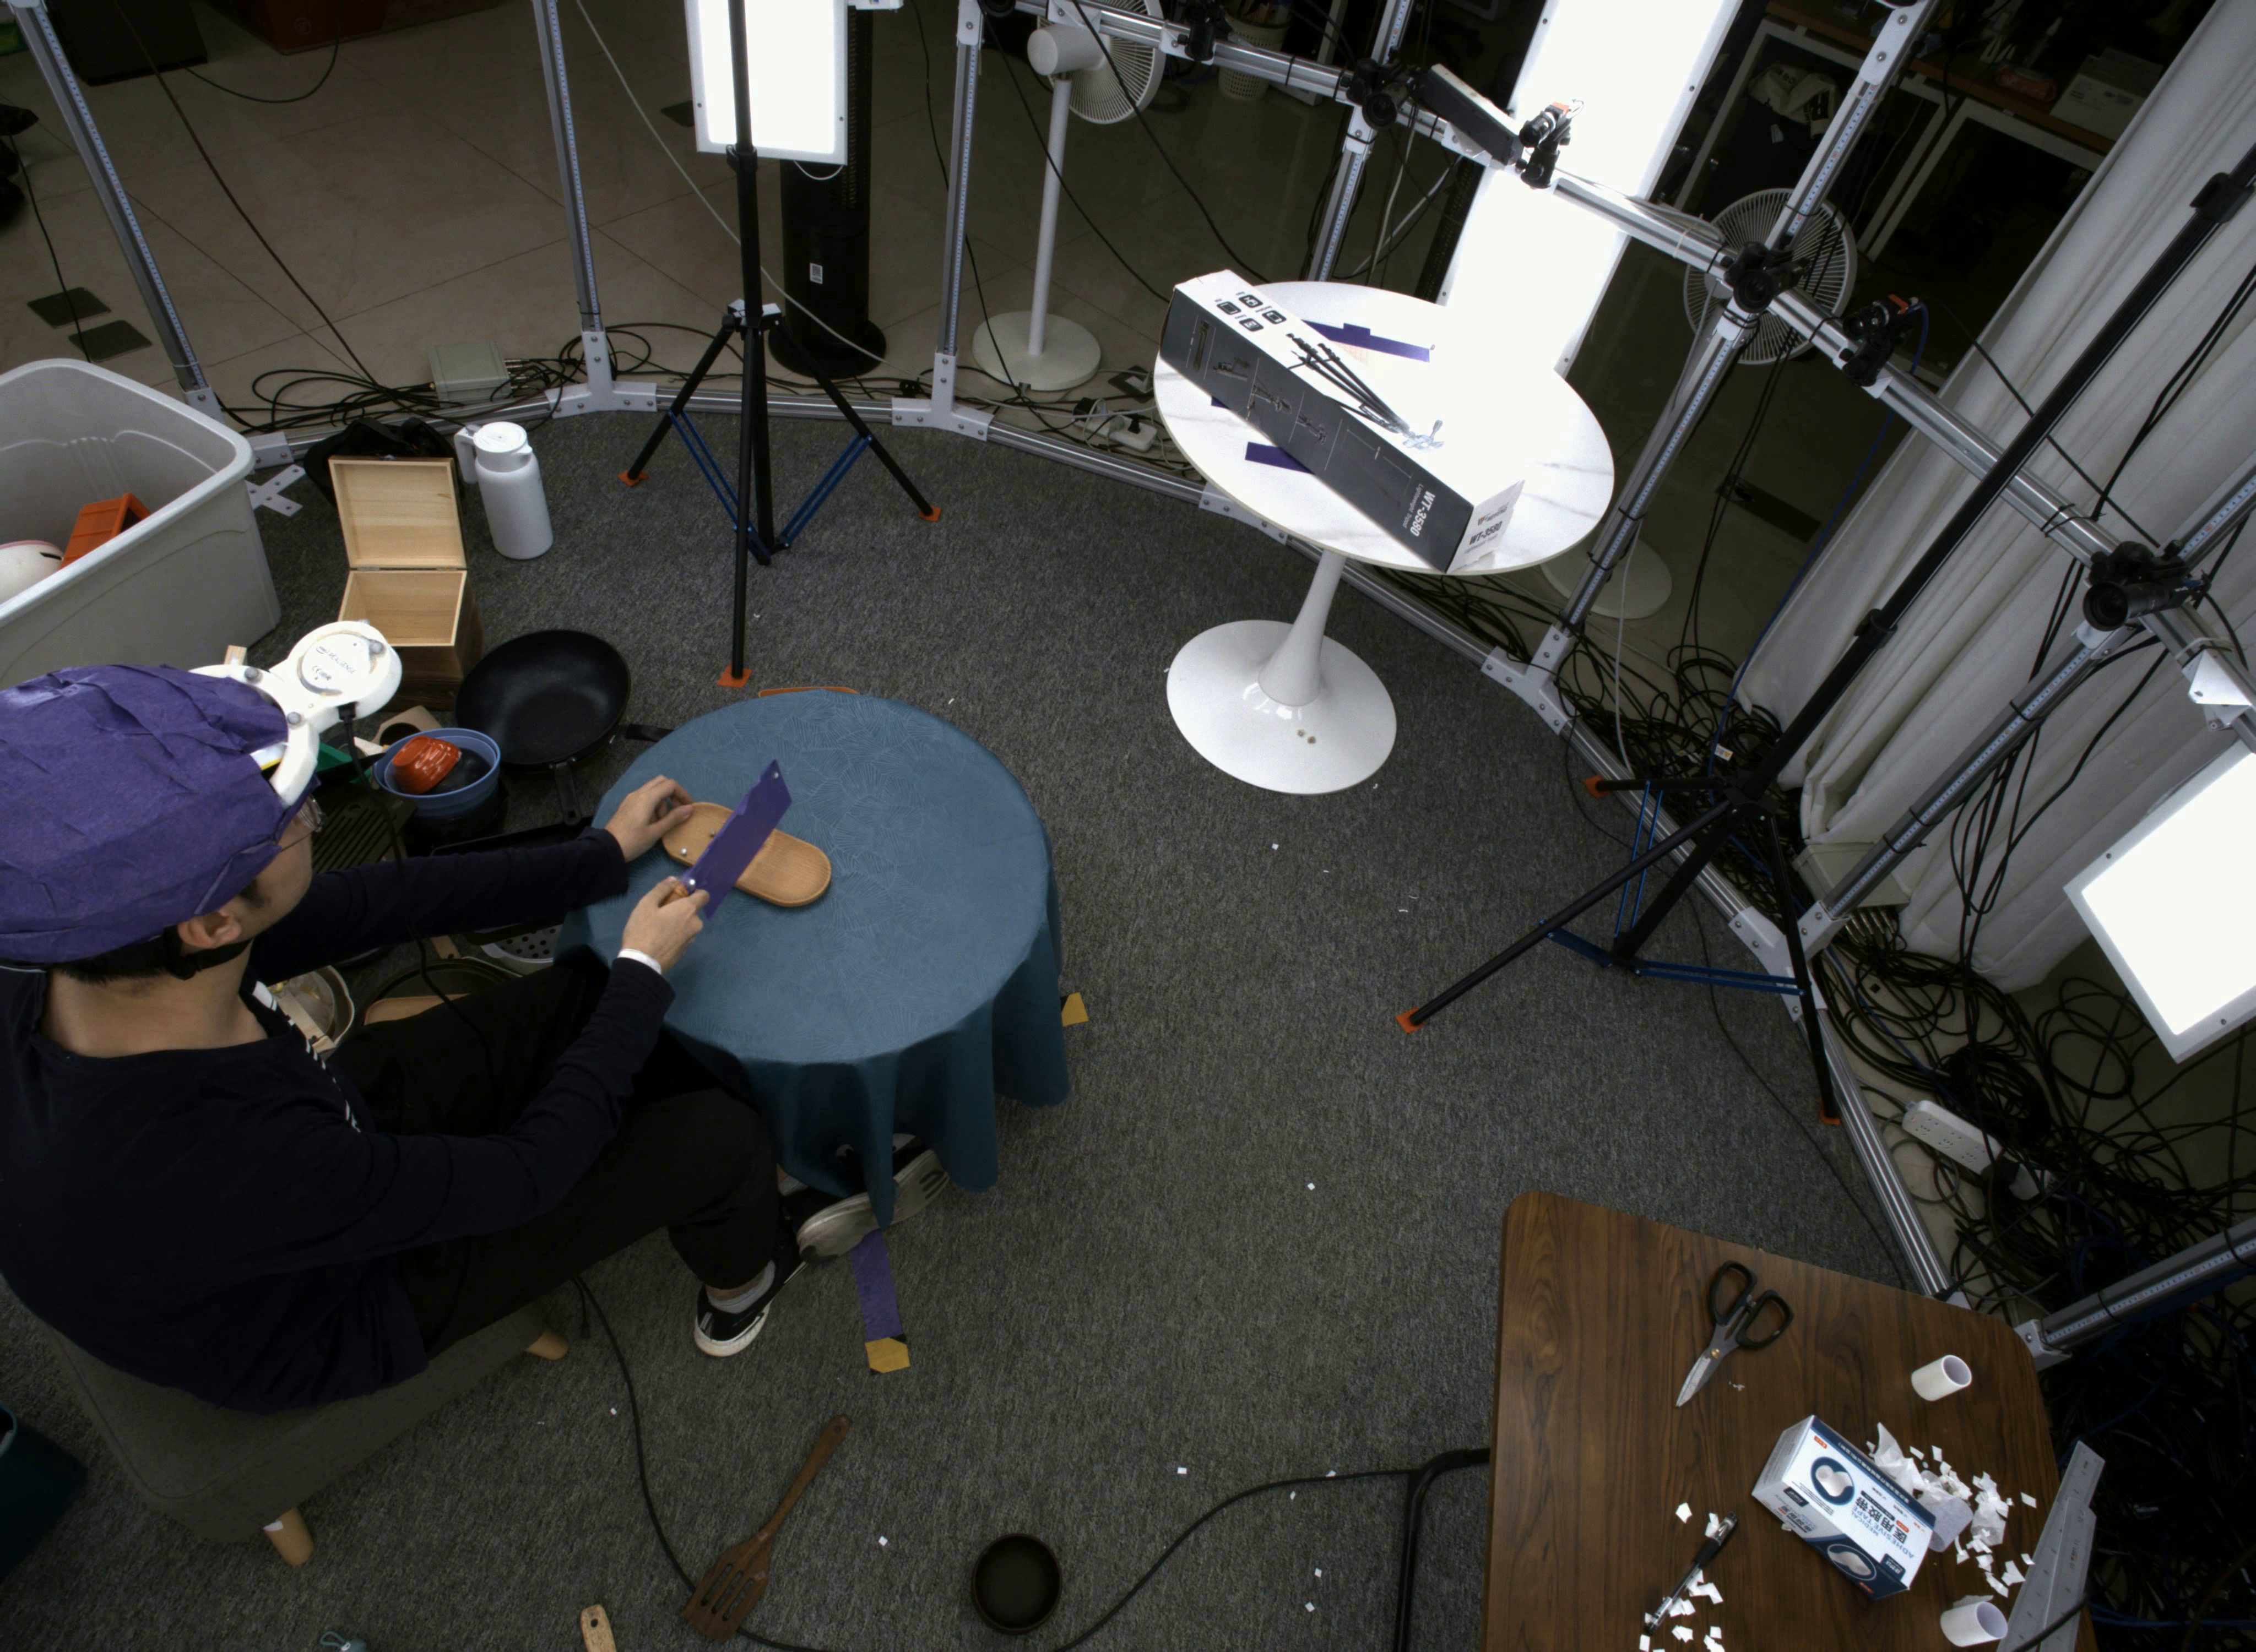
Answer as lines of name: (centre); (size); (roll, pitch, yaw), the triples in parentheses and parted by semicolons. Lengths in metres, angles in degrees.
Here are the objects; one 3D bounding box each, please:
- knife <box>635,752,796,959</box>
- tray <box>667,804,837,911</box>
knife: (-0.498, 0.050, 1.597); (0.031, 0.107, 0.313); (15, 54, 18)
tray: (-0.489, 0.039, 1.681); (0.229, 0.020, 0.101); (24, 53, 0)
